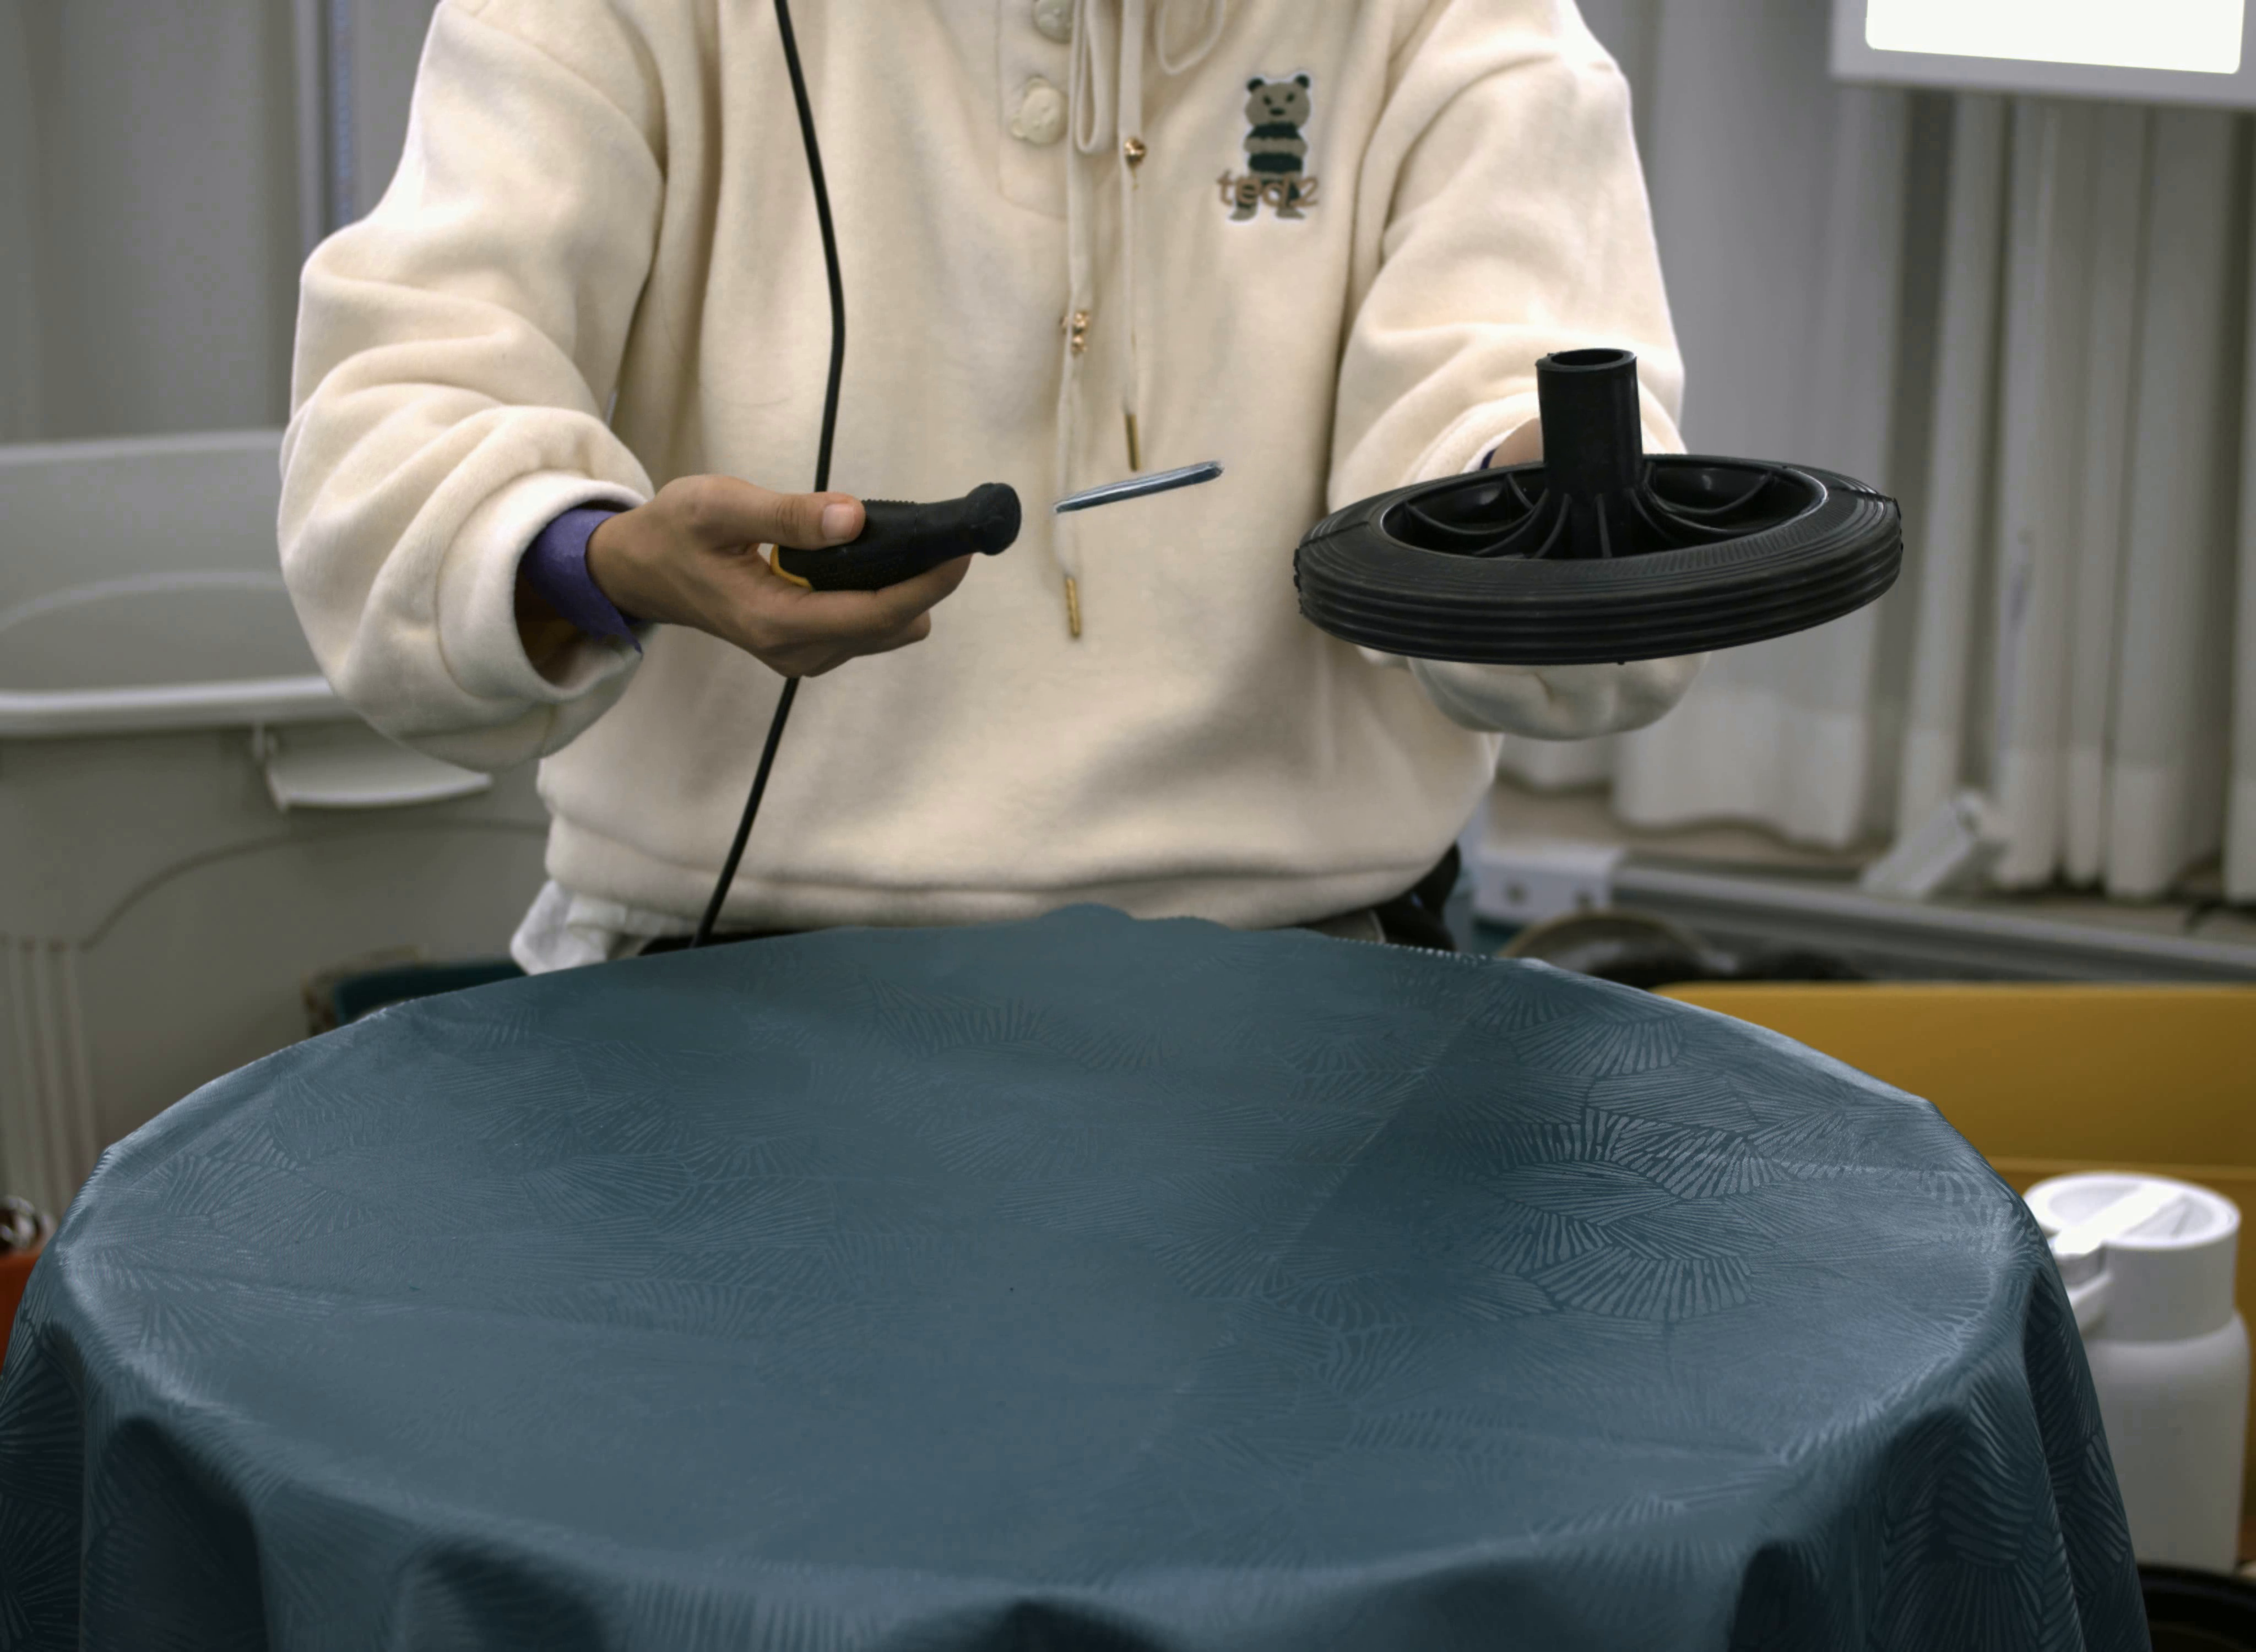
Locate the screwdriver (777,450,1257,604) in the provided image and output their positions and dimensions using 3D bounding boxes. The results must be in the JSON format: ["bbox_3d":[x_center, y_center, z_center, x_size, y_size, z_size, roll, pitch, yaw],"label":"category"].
[{"bbox_3d":[-0.035,-0.098,1.709,0.196,0.031,0.031,-8,8,35],"label":"screwdriver"}]

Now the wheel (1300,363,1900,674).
[{"bbox_3d":[0.144,-0.101,1.631,0.185,0.080,0.190,7,20,35],"label":"wheel"}]
